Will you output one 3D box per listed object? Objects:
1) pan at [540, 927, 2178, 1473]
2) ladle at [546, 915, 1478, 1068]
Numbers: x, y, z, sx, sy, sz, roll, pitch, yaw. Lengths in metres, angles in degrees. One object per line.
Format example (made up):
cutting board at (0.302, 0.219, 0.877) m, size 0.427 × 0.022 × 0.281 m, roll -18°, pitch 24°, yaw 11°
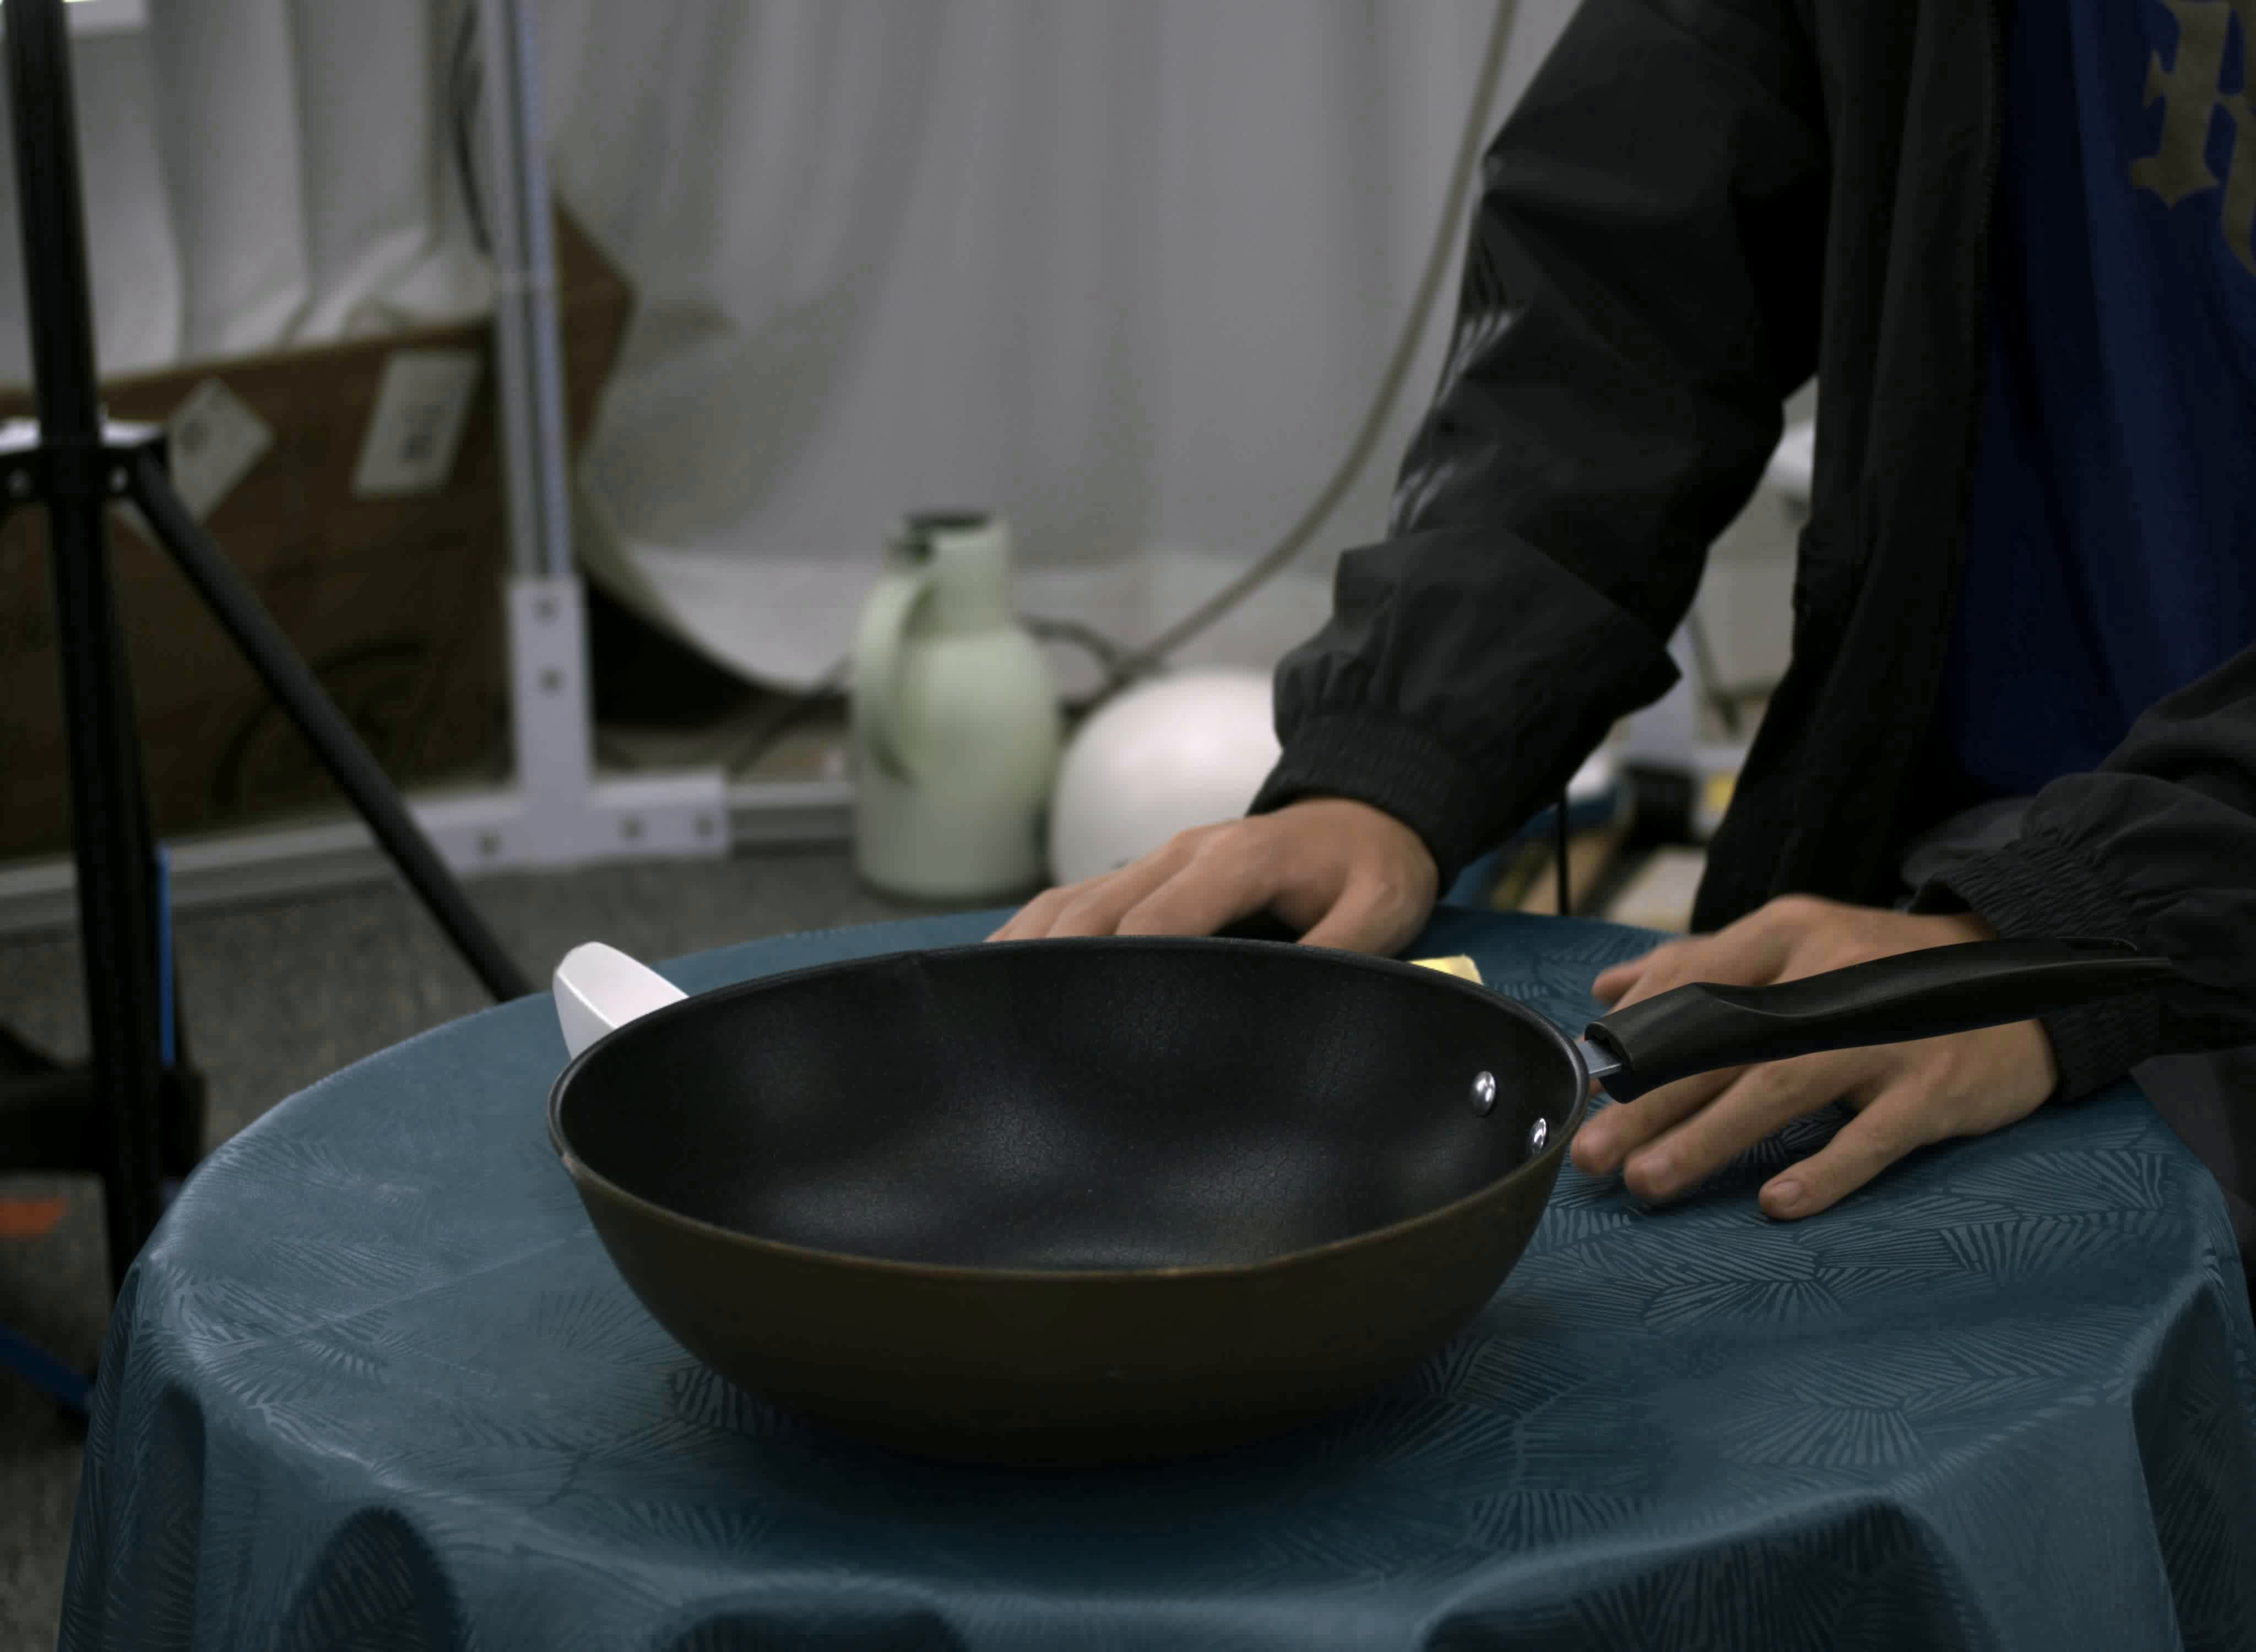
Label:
pan at (0.070, 0.097, 1.440) m, size 0.456 × 0.087 × 0.293 m, roll -5°, pitch 16°, yaw -15°
ladle at (-0.033, 0.054, 1.637) m, size 0.289 × 0.070 × 0.091 m, roll -3°, pitch 13°, yaw -9°
